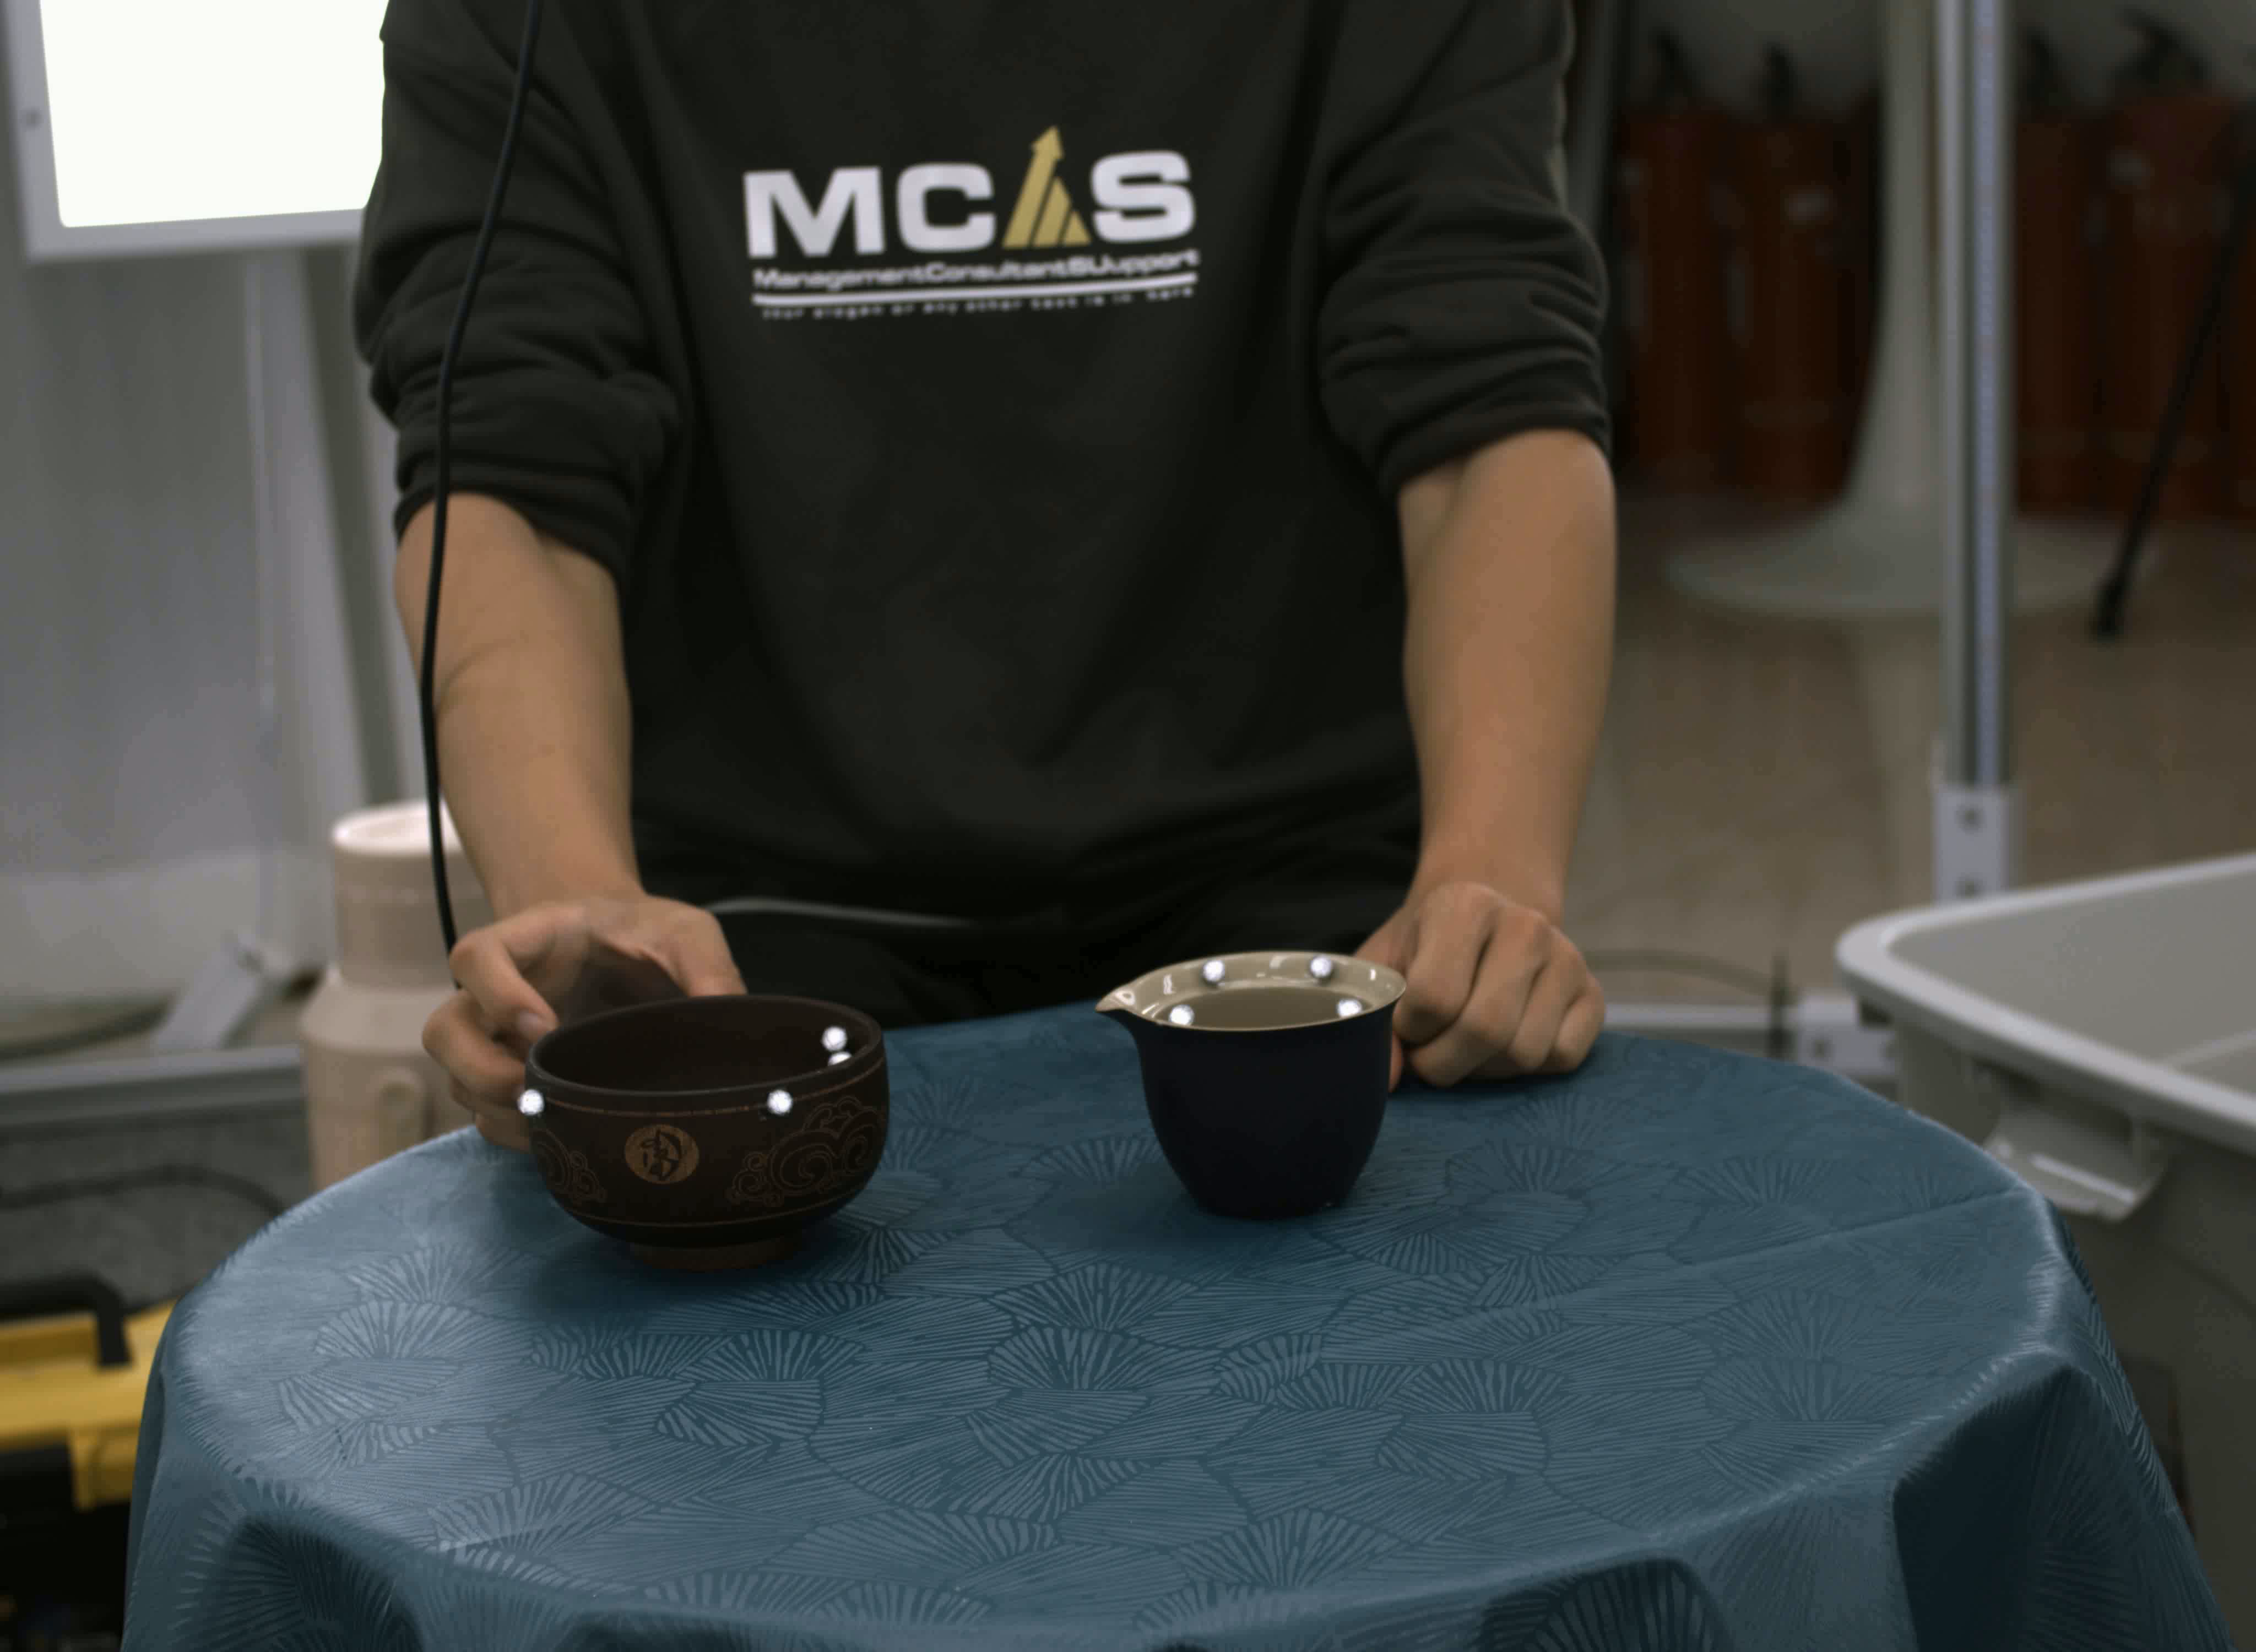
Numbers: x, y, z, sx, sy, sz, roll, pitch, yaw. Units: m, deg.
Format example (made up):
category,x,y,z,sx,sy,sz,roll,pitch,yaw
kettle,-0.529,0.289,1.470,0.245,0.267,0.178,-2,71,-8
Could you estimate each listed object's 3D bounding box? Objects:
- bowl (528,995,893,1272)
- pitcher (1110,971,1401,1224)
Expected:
category,x,y,z,sx,sy,sz,roll,pitch,yaw
bowl,-0.133,0.102,1.737,0.116,0.070,0.118,-3,12,0
pitcher,0.043,0.088,1.749,0.095,0.072,0.083,-1,14,8
